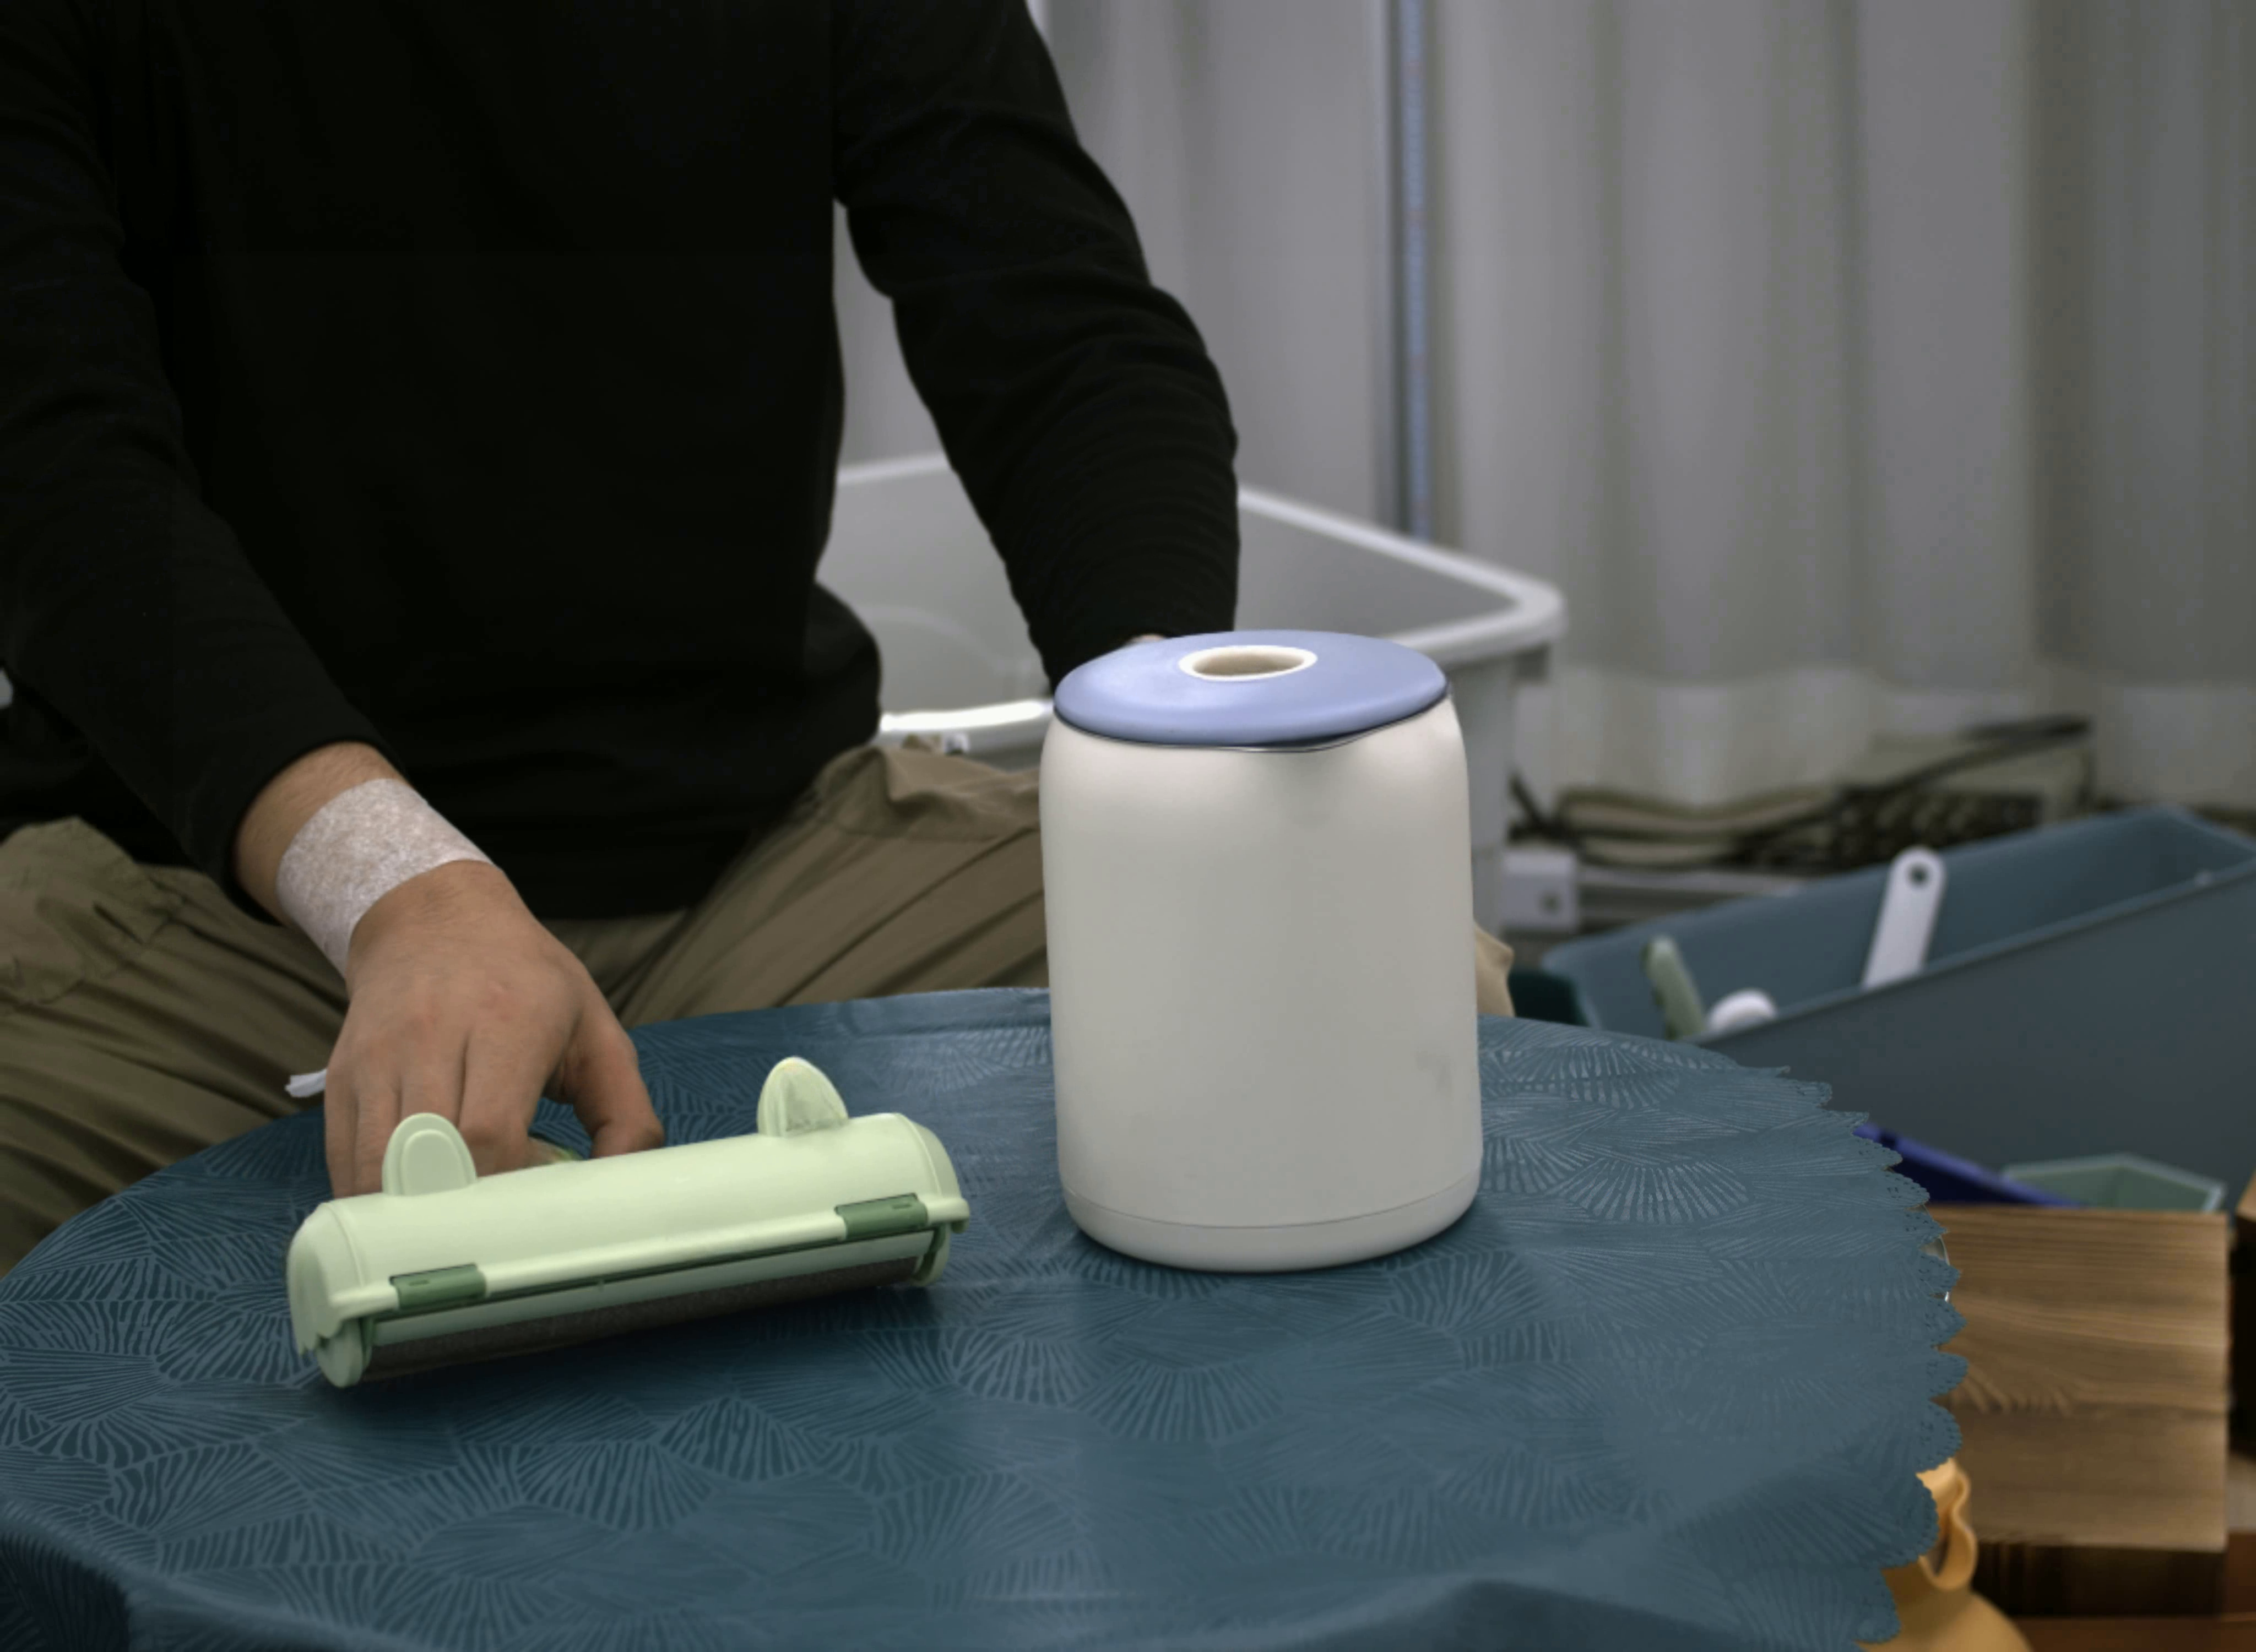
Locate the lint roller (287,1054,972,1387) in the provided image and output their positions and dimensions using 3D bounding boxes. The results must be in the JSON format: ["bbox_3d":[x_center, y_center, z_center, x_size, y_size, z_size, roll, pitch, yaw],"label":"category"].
[{"bbox_3d":[-0.168,0.102,1.645,0.197,0.082,0.185,-7,18,-23],"label":"lint roller"}]

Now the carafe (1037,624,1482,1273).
[{"bbox_3d":[0.033,0.031,1.692,0.131,0.182,0.192,-6,12,-15],"label":"carafe"}]
